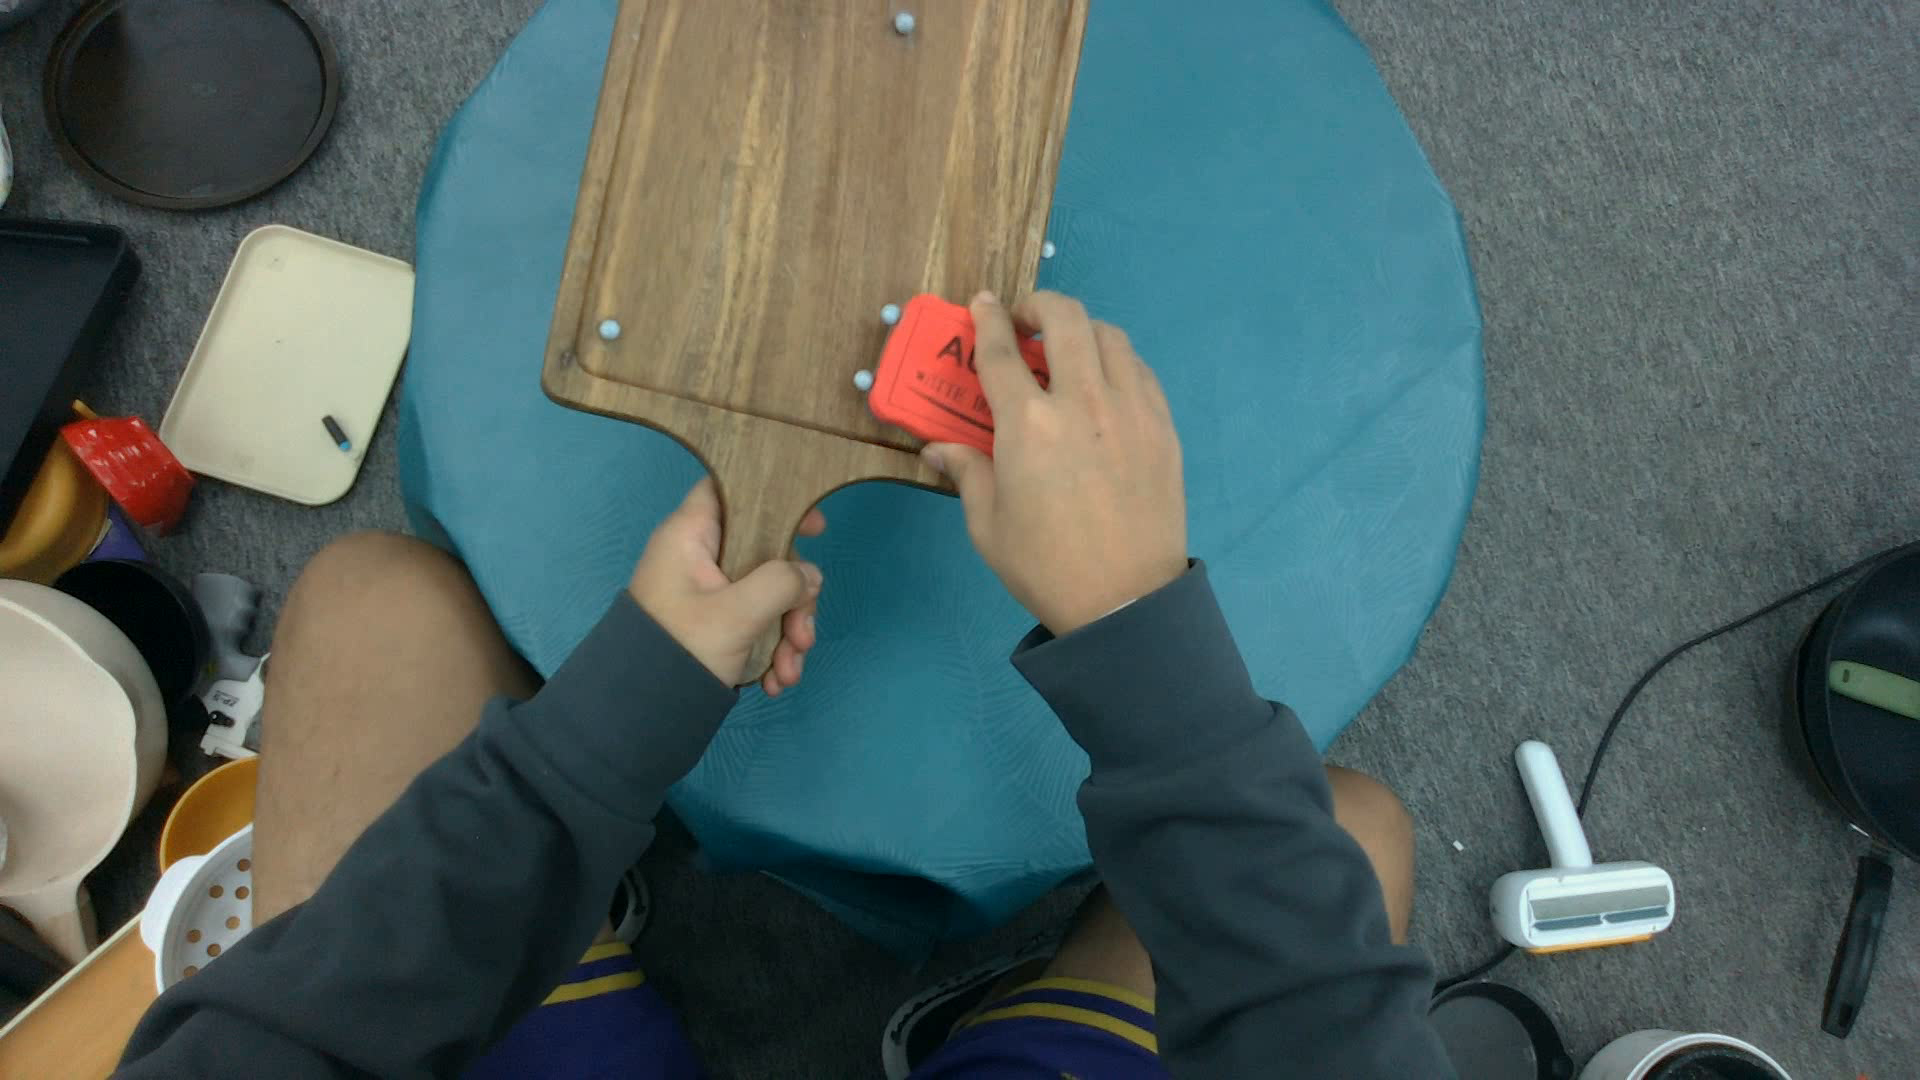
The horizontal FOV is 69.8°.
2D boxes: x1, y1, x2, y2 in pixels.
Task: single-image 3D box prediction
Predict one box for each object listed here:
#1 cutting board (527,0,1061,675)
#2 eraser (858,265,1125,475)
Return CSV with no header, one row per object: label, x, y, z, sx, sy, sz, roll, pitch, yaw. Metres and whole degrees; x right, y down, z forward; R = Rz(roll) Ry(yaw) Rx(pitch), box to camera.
cutting board,-0.072,-0.117,0.589,0.201,0.023,0.352,11,86,-18
eraser,0.014,-0.072,0.593,0.108,0.023,0.059,23,84,-16
